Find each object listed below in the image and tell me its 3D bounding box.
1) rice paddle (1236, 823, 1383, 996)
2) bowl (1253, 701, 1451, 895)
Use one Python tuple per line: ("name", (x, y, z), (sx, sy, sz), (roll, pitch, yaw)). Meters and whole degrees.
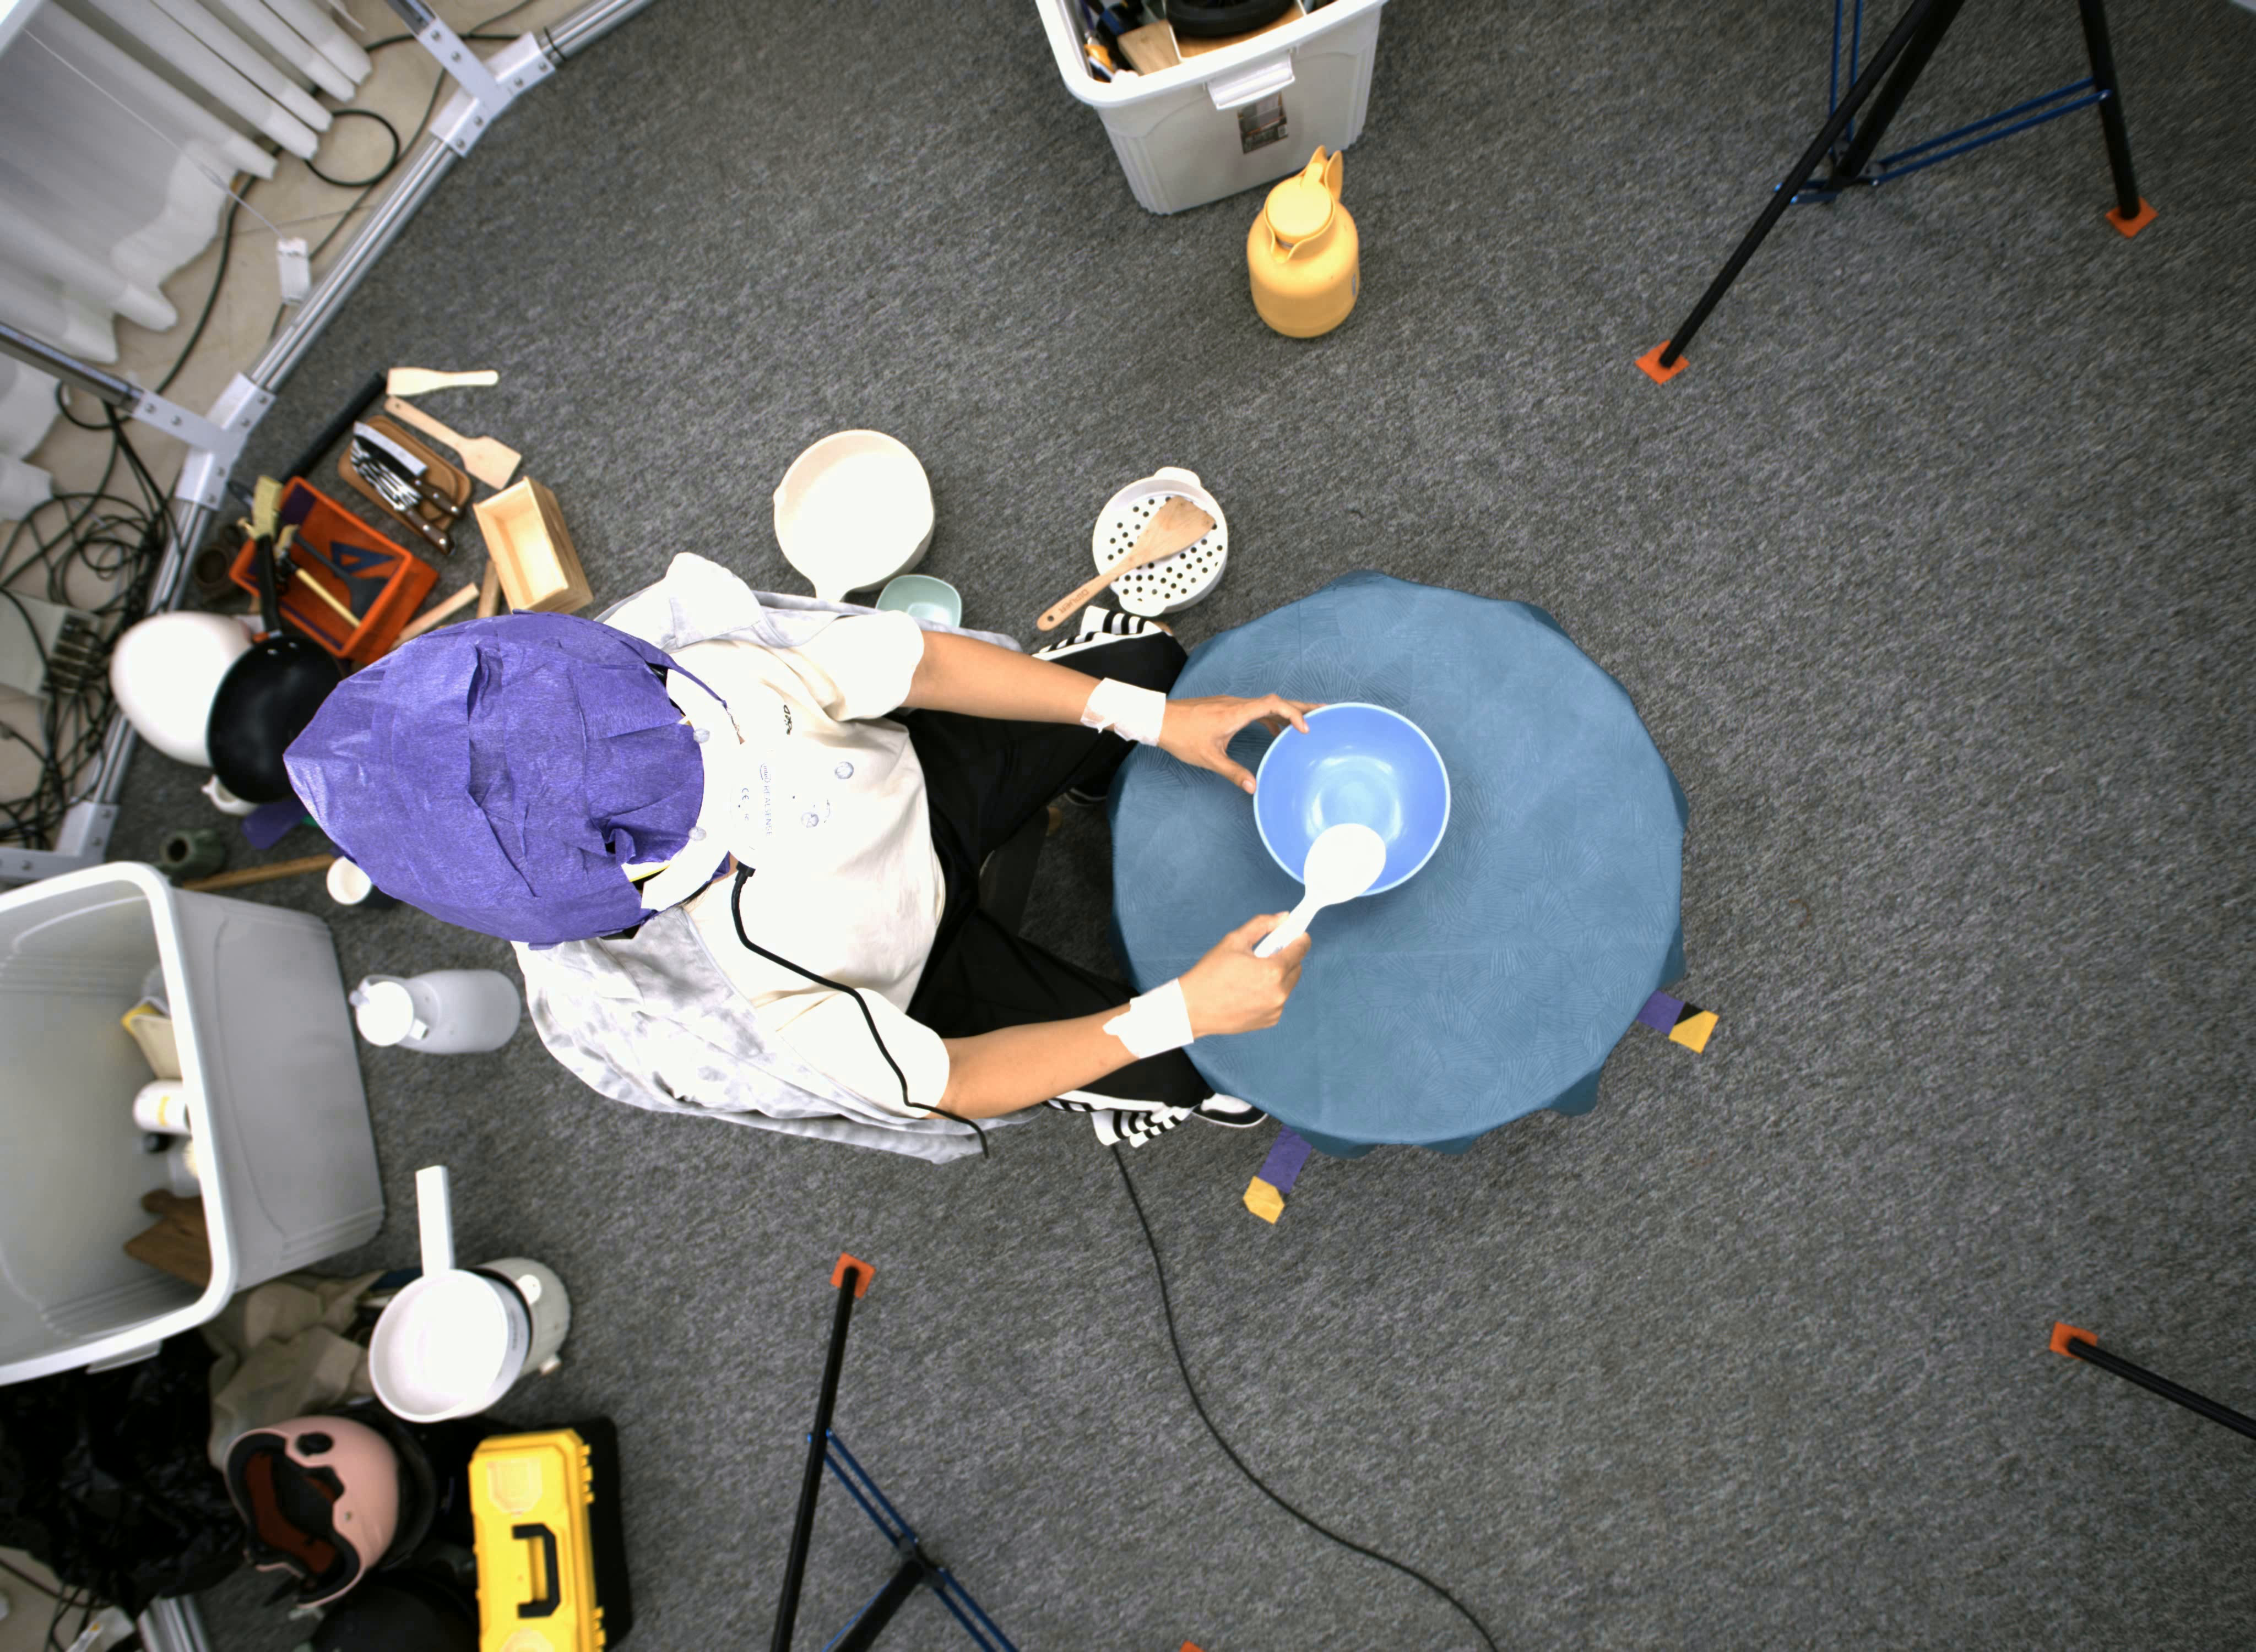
("rice paddle", (0.173, 0.073, 1.309), (0.068, 0.030, 0.202), (35, 70, 15))
("bowl", (0.229, -0.025, 1.422), (0.197, 0.095, 0.195), (-1, 87, 9))
